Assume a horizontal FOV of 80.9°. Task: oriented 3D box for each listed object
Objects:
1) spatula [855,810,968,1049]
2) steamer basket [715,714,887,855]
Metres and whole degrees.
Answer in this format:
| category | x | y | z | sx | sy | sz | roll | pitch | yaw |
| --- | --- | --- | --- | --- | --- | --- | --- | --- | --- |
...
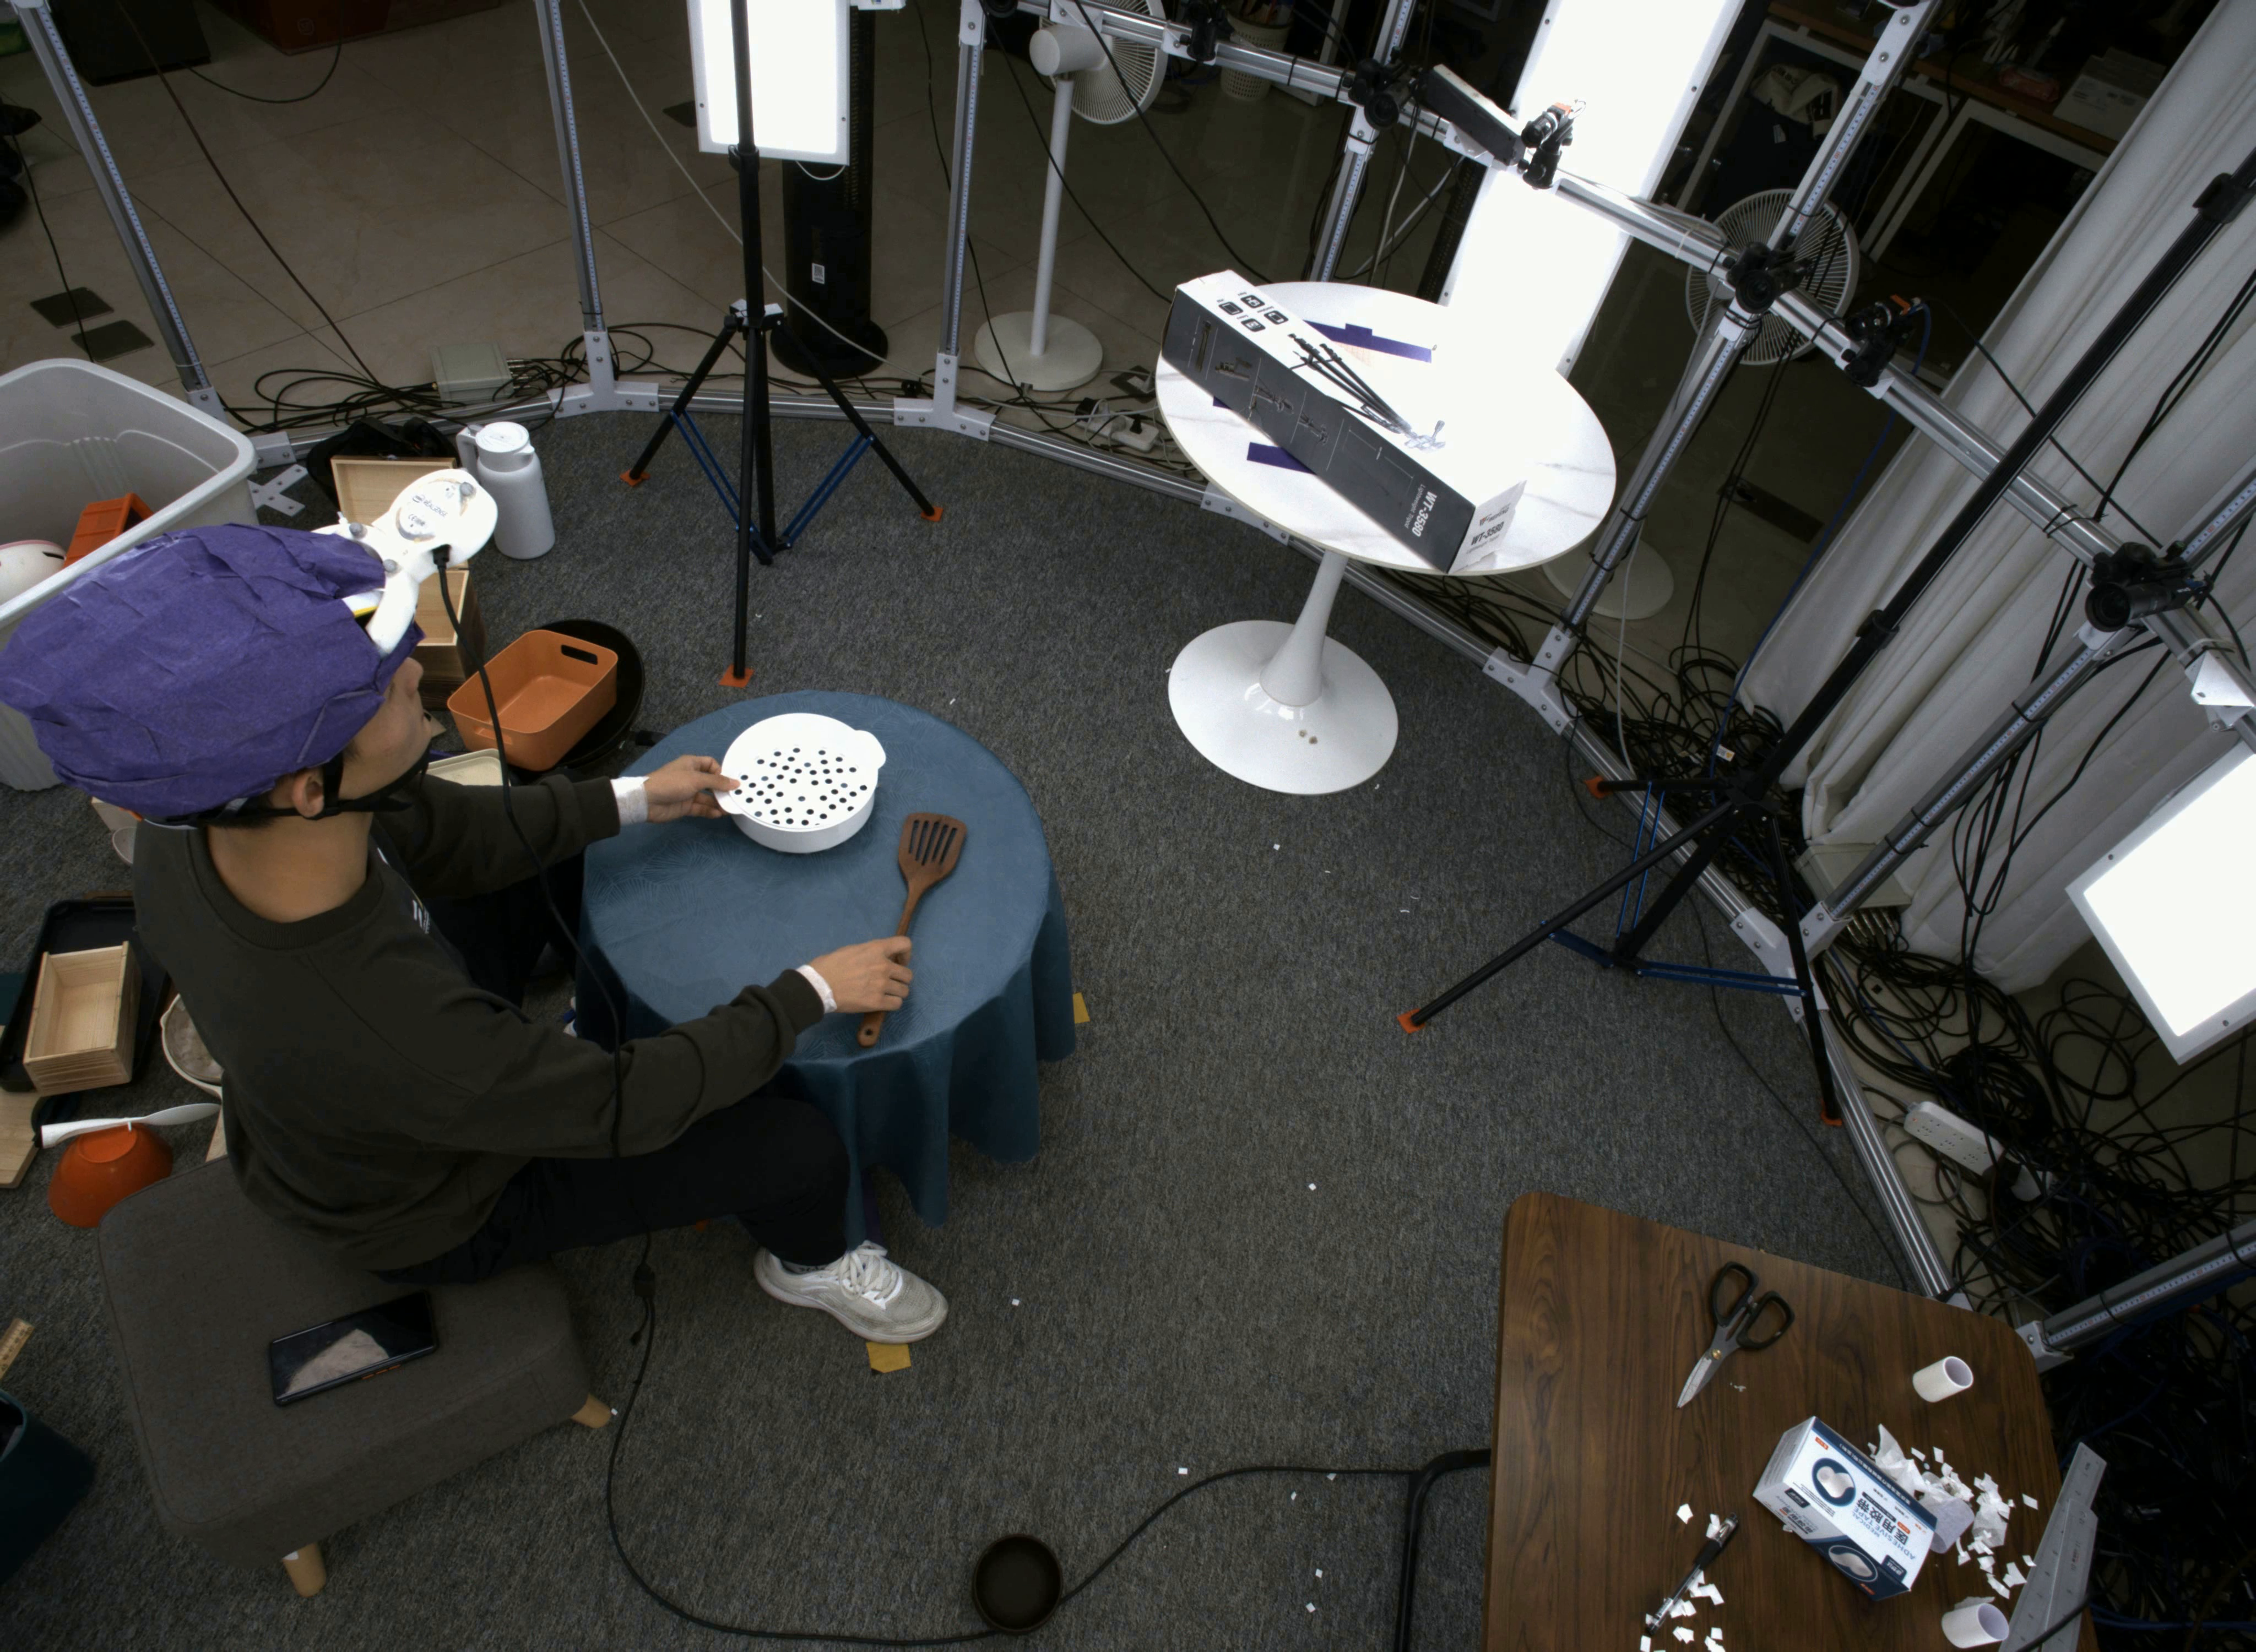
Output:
| category | x | y | z | sx | sy | sz | roll | pitch | yaw |
| --- | --- | --- | --- | --- | --- | --- | --- | --- | --- |
| spatula | -0.283 | 0.122 | 1.652 | 0.085 | 0.024 | 0.379 | 13 | 46 | -2 |
| steamer basket | -0.433 | -0.056 | 1.734 | 0.231 | 0.071 | 0.196 | -23 | 60 | -24 |
